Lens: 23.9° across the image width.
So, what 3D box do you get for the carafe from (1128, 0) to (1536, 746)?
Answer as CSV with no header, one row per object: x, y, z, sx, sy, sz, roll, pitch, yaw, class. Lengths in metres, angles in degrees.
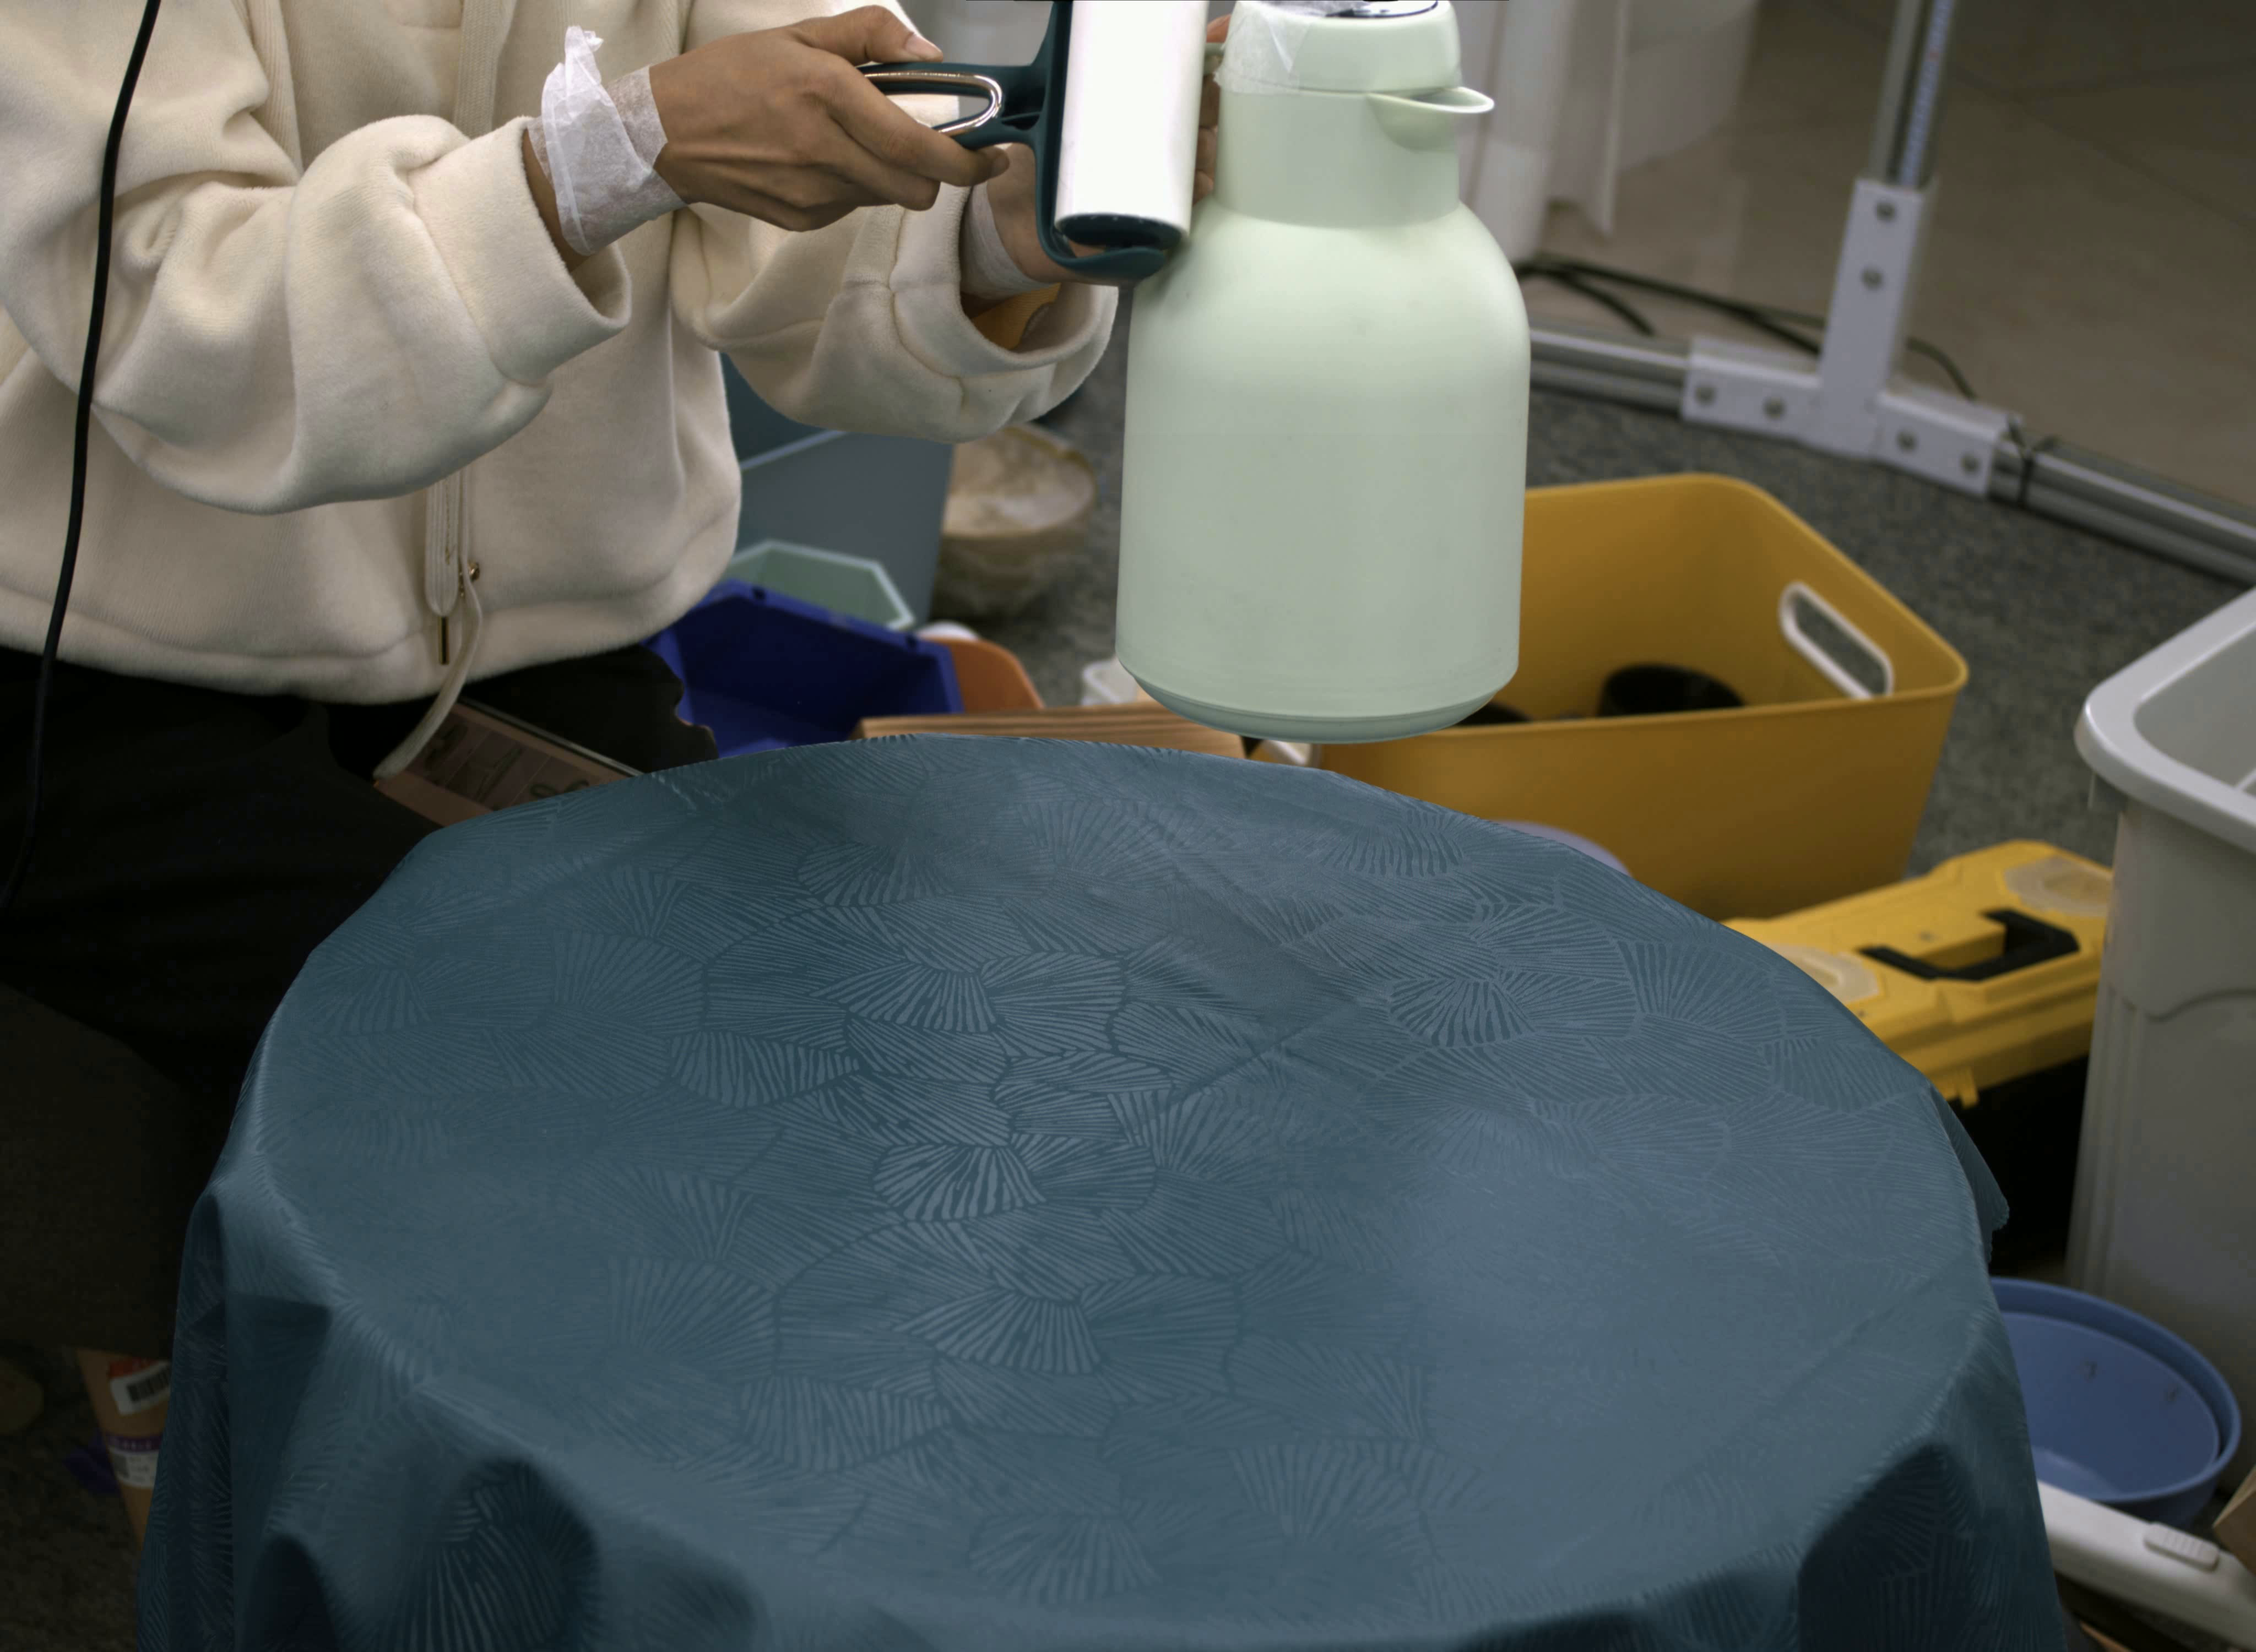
0.064,-0.170,1.881,0.143,0.256,0.188,-14,21,-34,carafe

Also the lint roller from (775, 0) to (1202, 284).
-0.059,-0.255,1.873,0.181,0.135,0.048,0,-10,29,lint roller
